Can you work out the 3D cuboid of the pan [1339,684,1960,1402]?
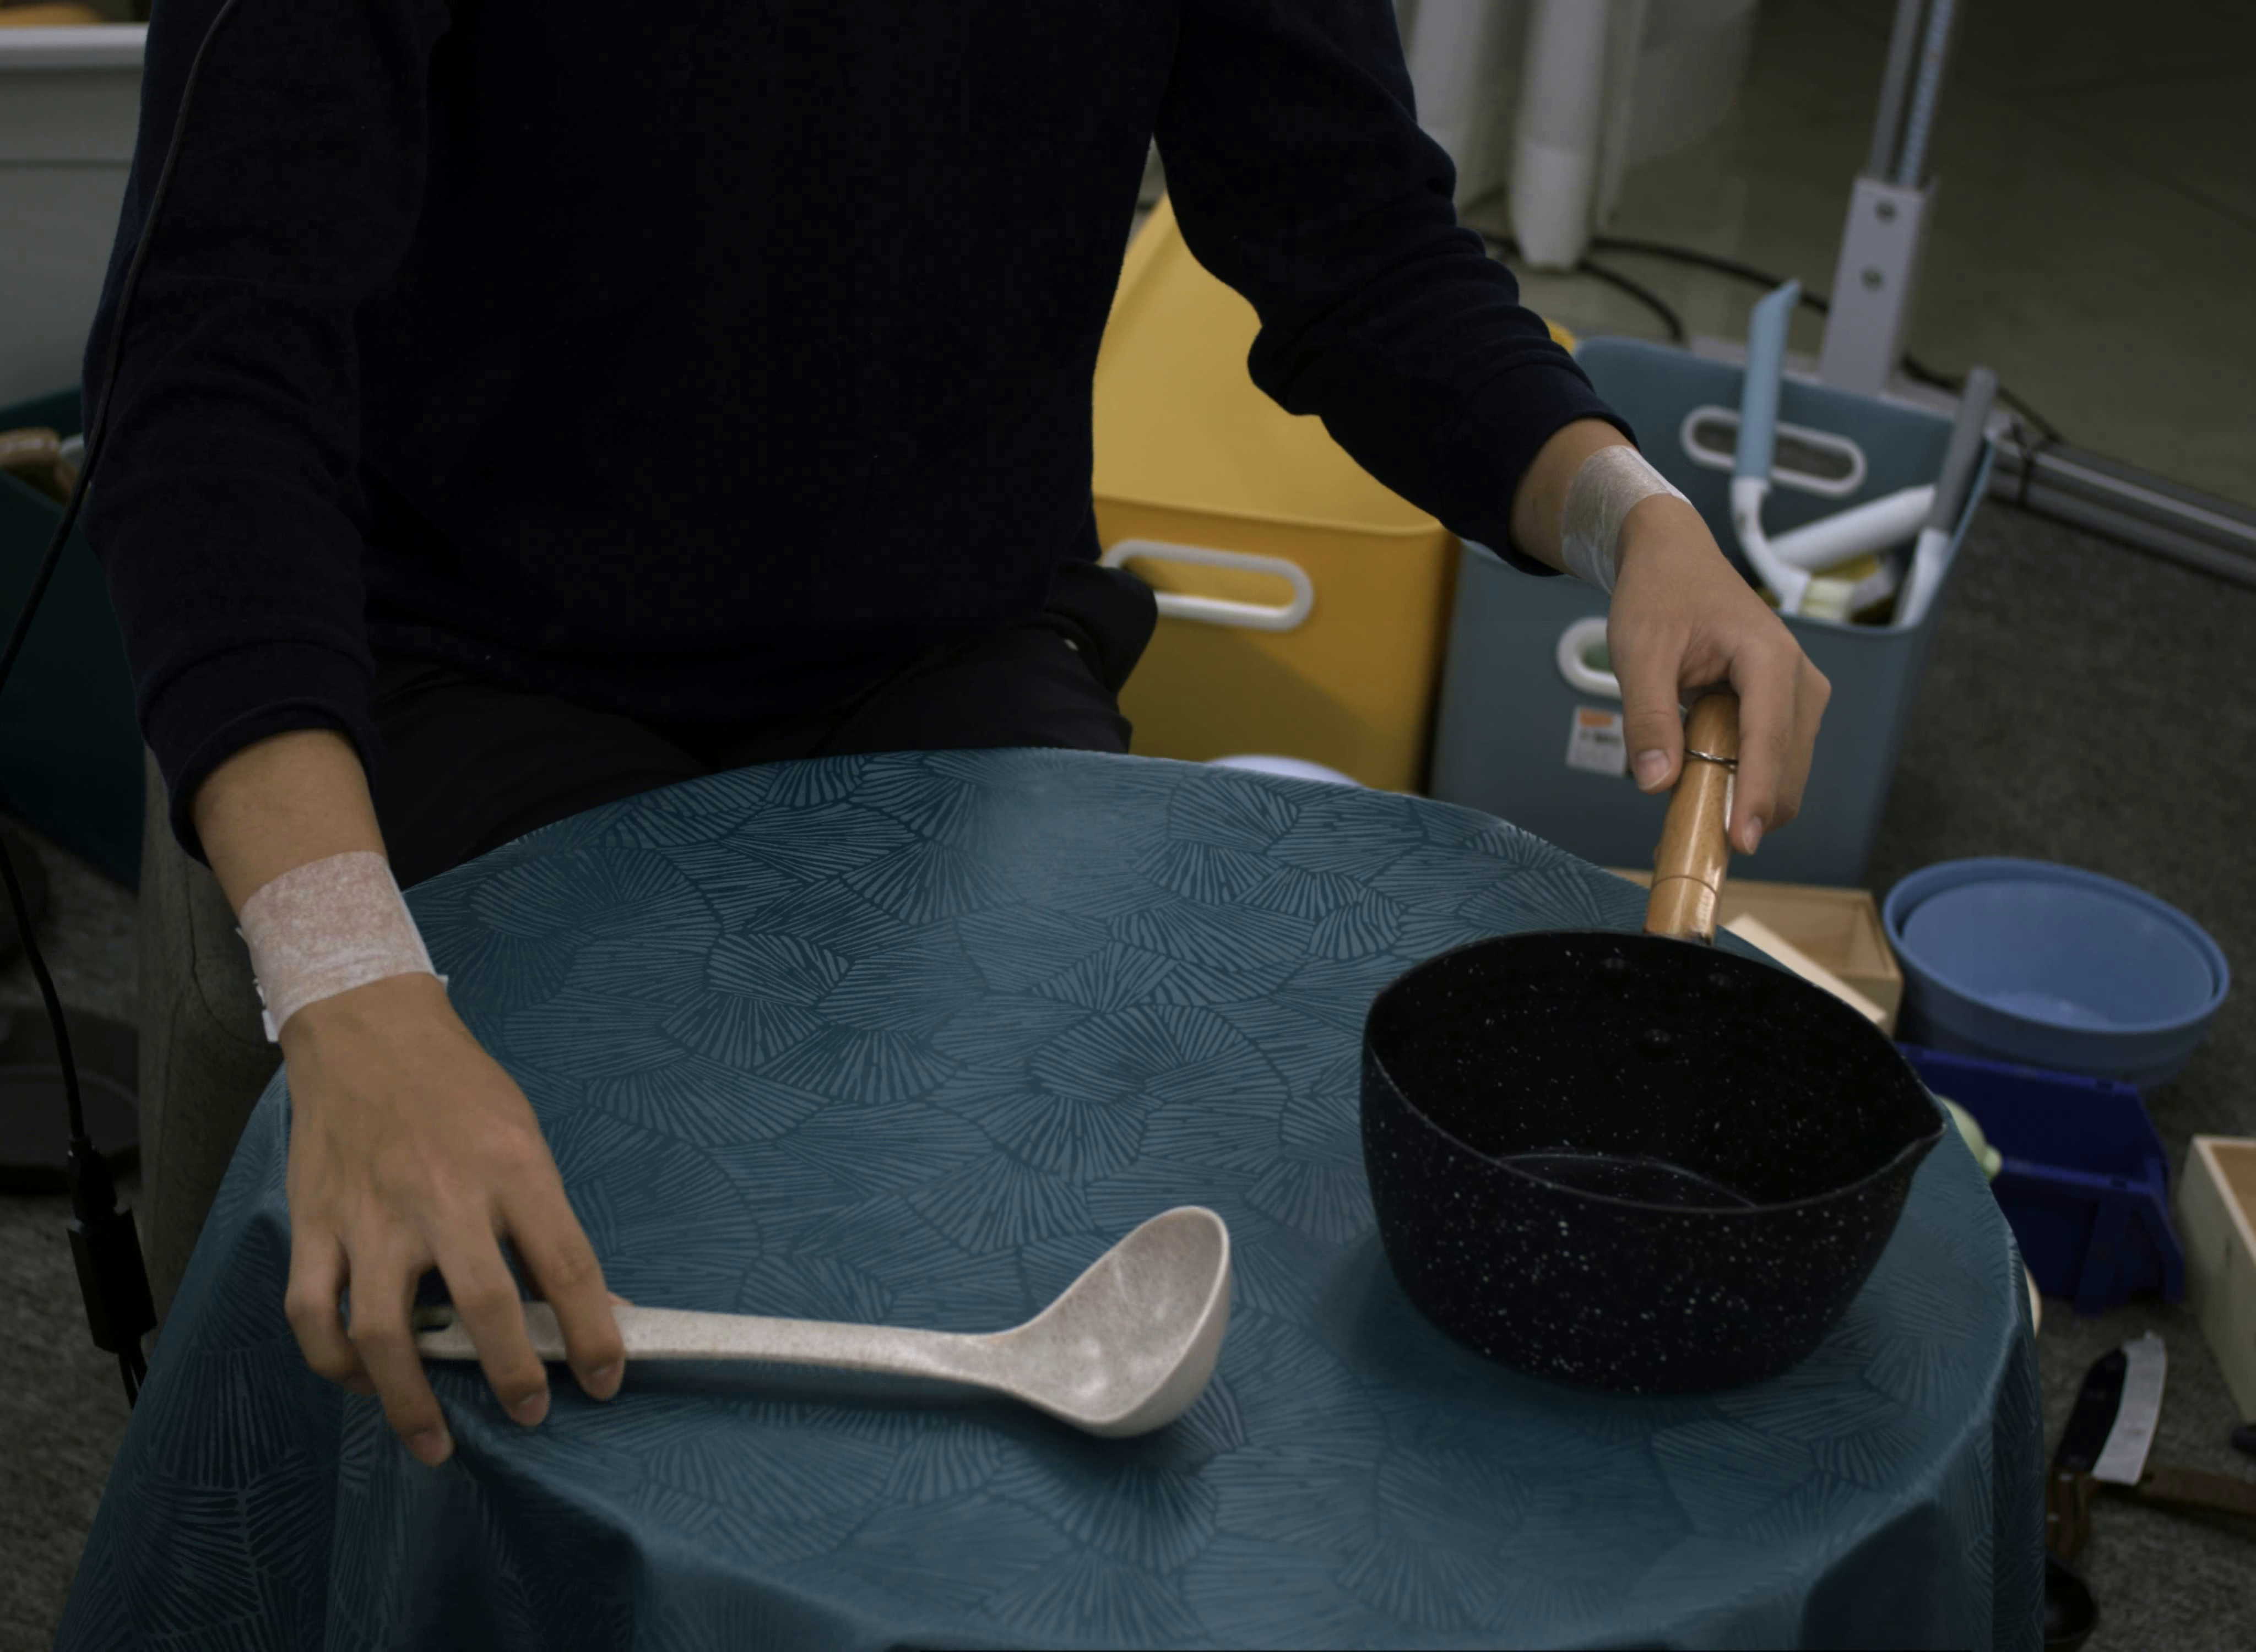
[{"bbox_3d":[0.181,0.070,1.830,0.207,0.108,0.344,9,28,7],"label":"pan"}]

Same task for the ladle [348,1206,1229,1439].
[{"bbox_3d":[-0.106,0.147,1.661,0.274,0.069,0.090,4,33,-3],"label":"ladle"}]
